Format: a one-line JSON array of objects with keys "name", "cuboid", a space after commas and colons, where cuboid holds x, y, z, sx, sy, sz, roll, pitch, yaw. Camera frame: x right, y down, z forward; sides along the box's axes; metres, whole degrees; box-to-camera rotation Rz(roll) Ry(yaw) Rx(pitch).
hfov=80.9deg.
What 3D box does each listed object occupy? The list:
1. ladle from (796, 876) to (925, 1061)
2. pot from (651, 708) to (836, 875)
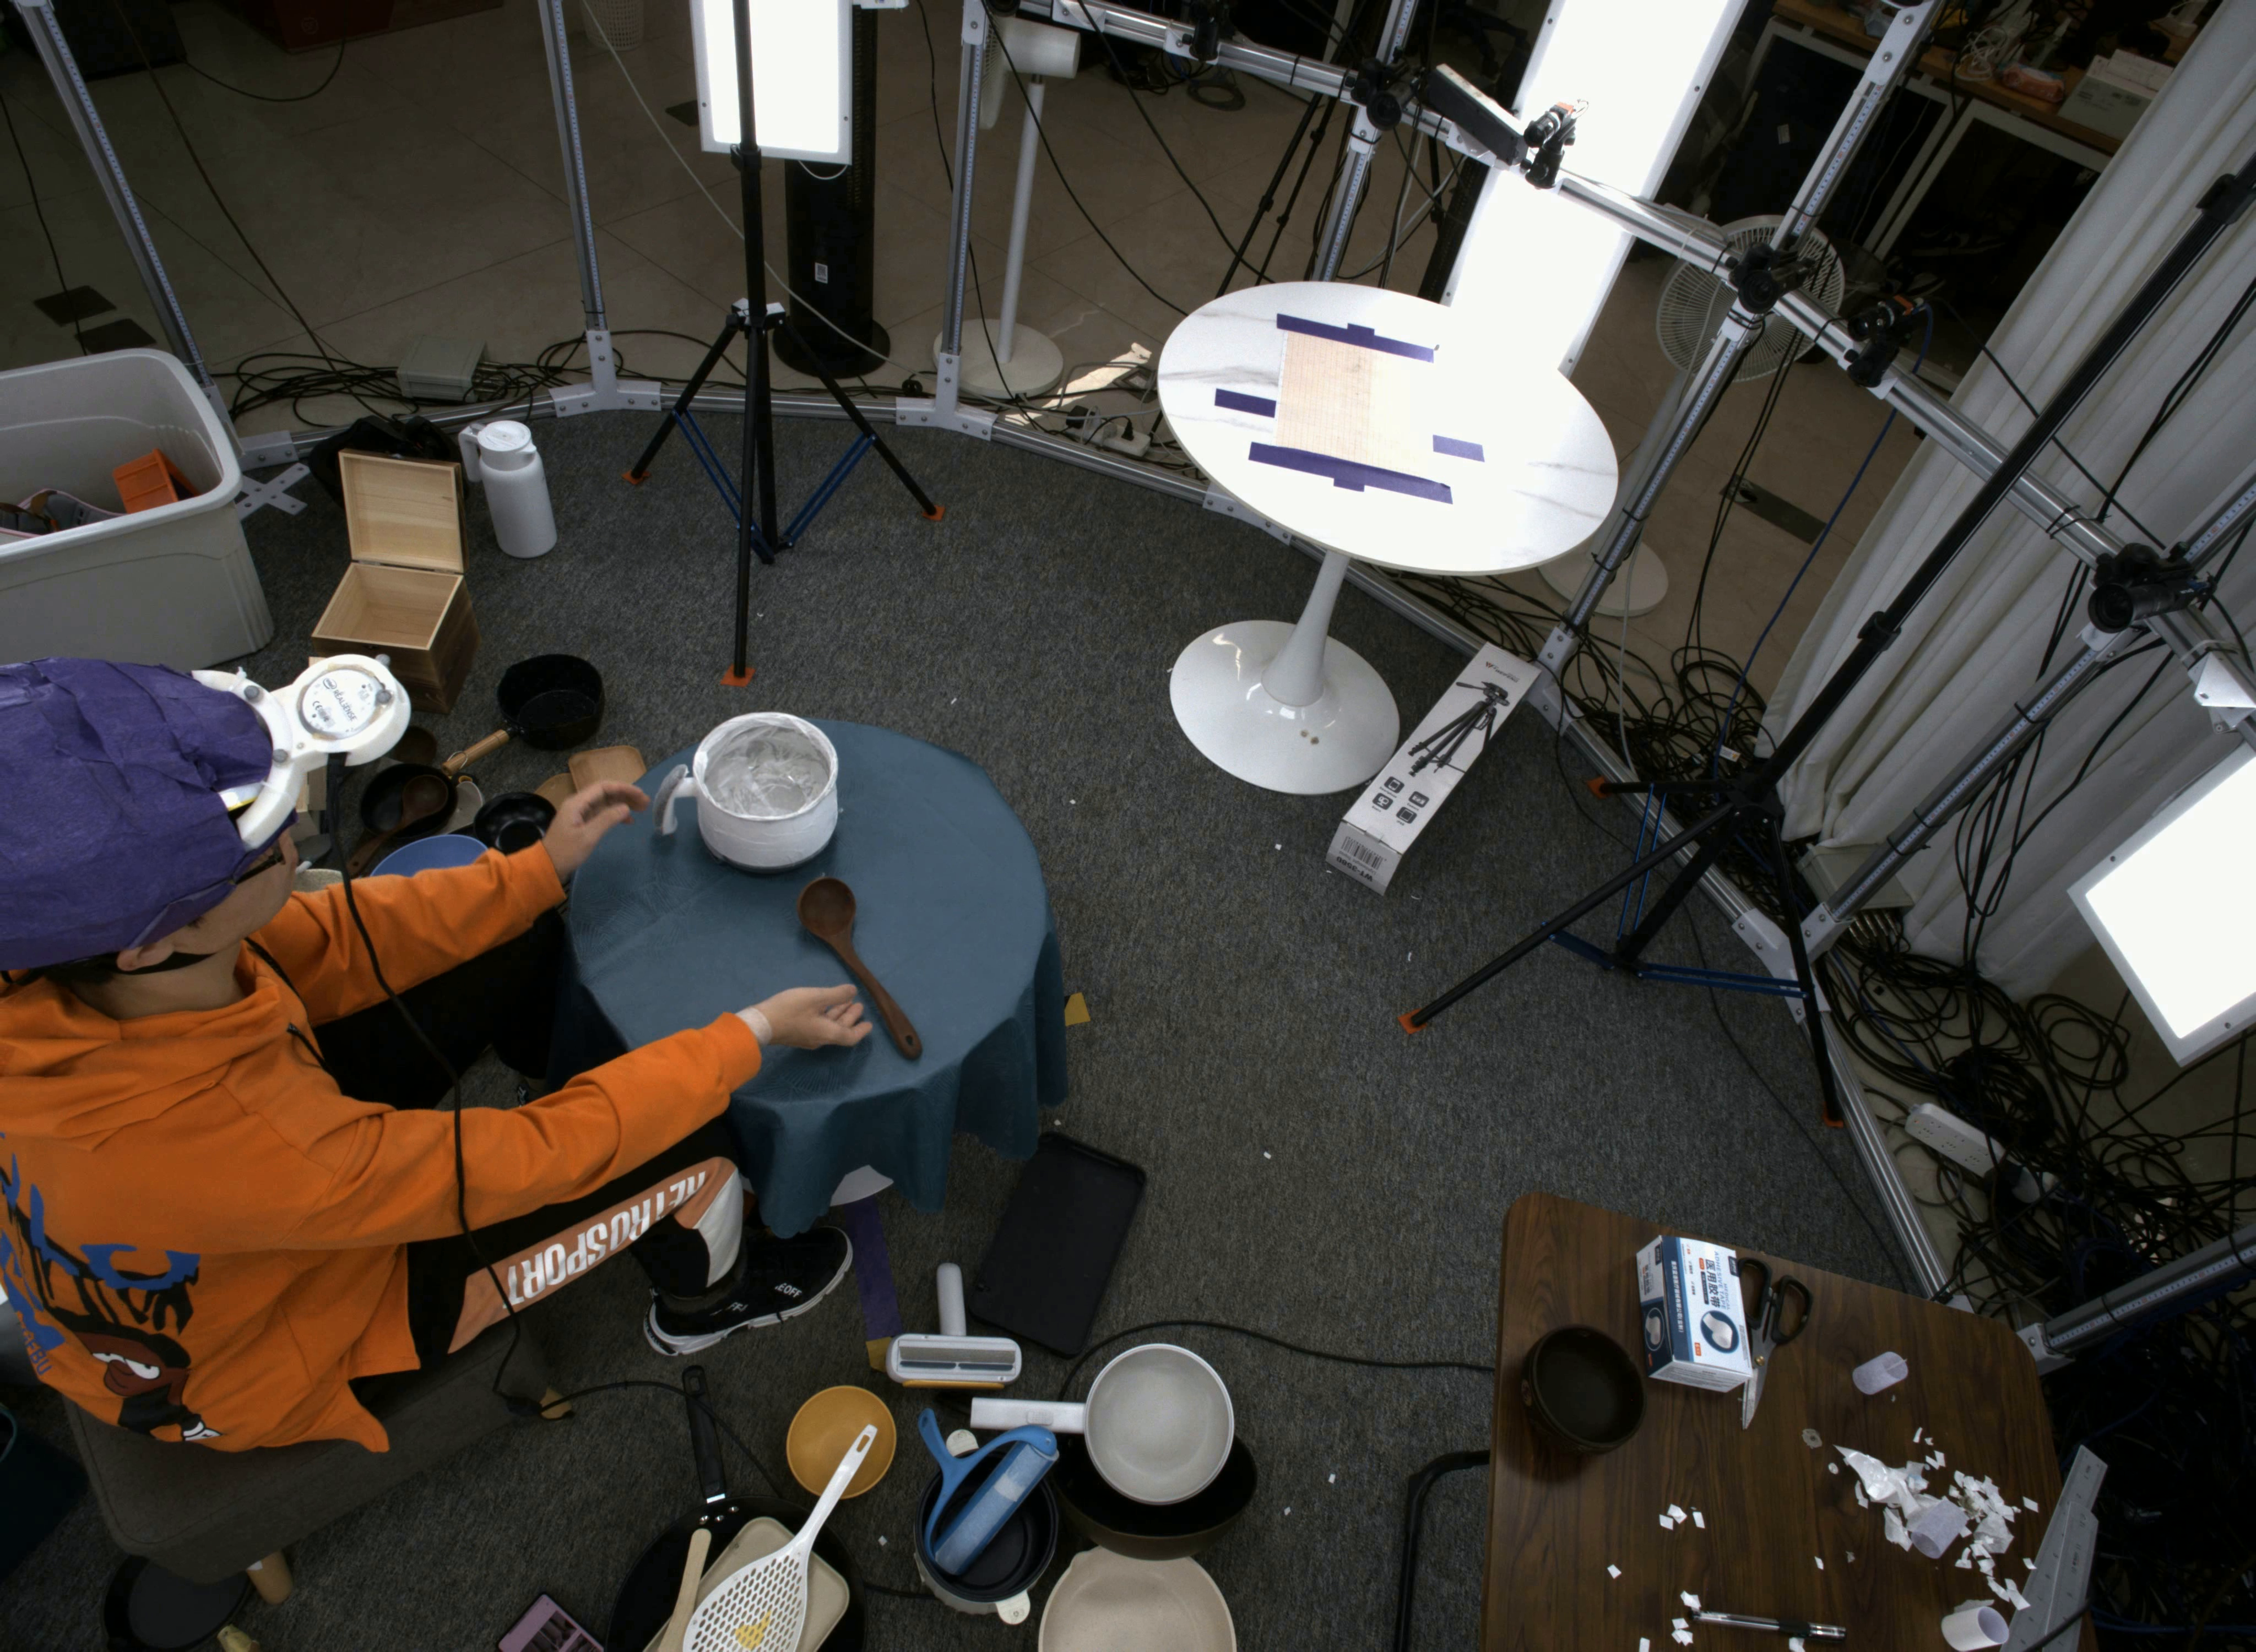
[{"name": "ladle", "cuboid": [-0.319, 0.168, 1.575, 0.077, 0.066, 0.254, -27, 64, -27]}, {"name": "pot", "cuboid": [-0.487, -0.037, 1.635, 0.235, 0.139, 0.174, -6, 54, -19]}]
